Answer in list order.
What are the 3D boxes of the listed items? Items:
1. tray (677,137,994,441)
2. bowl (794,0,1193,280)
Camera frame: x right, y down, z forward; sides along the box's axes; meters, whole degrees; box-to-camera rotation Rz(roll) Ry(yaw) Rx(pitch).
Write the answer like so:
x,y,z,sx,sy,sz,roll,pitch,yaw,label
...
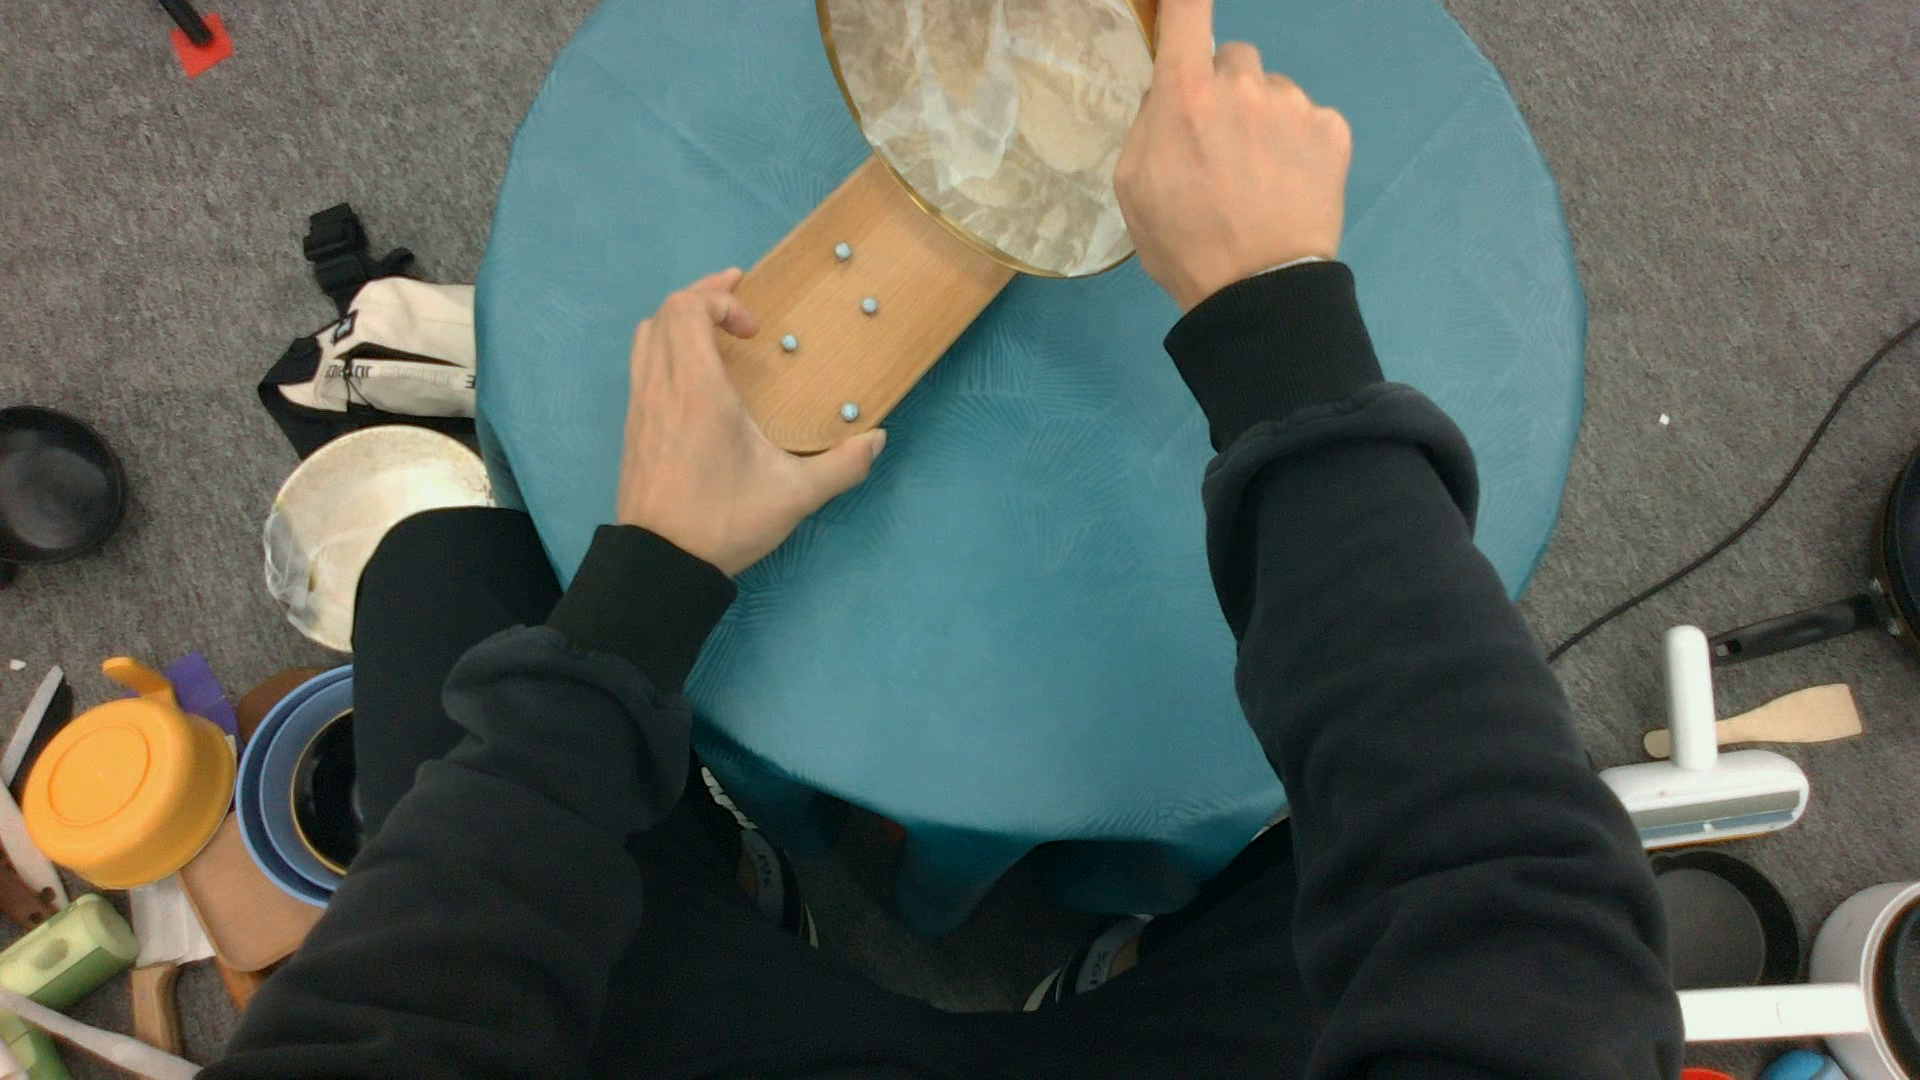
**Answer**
x,y,z,sx,sy,sz,roll,pitch,yaw,label
-0.053,-0.139,0.710,0.101,0.020,0.232,36,60,3,tray
0.028,-0.232,0.635,0.215,0.213,0.095,39,62,7,bowl
